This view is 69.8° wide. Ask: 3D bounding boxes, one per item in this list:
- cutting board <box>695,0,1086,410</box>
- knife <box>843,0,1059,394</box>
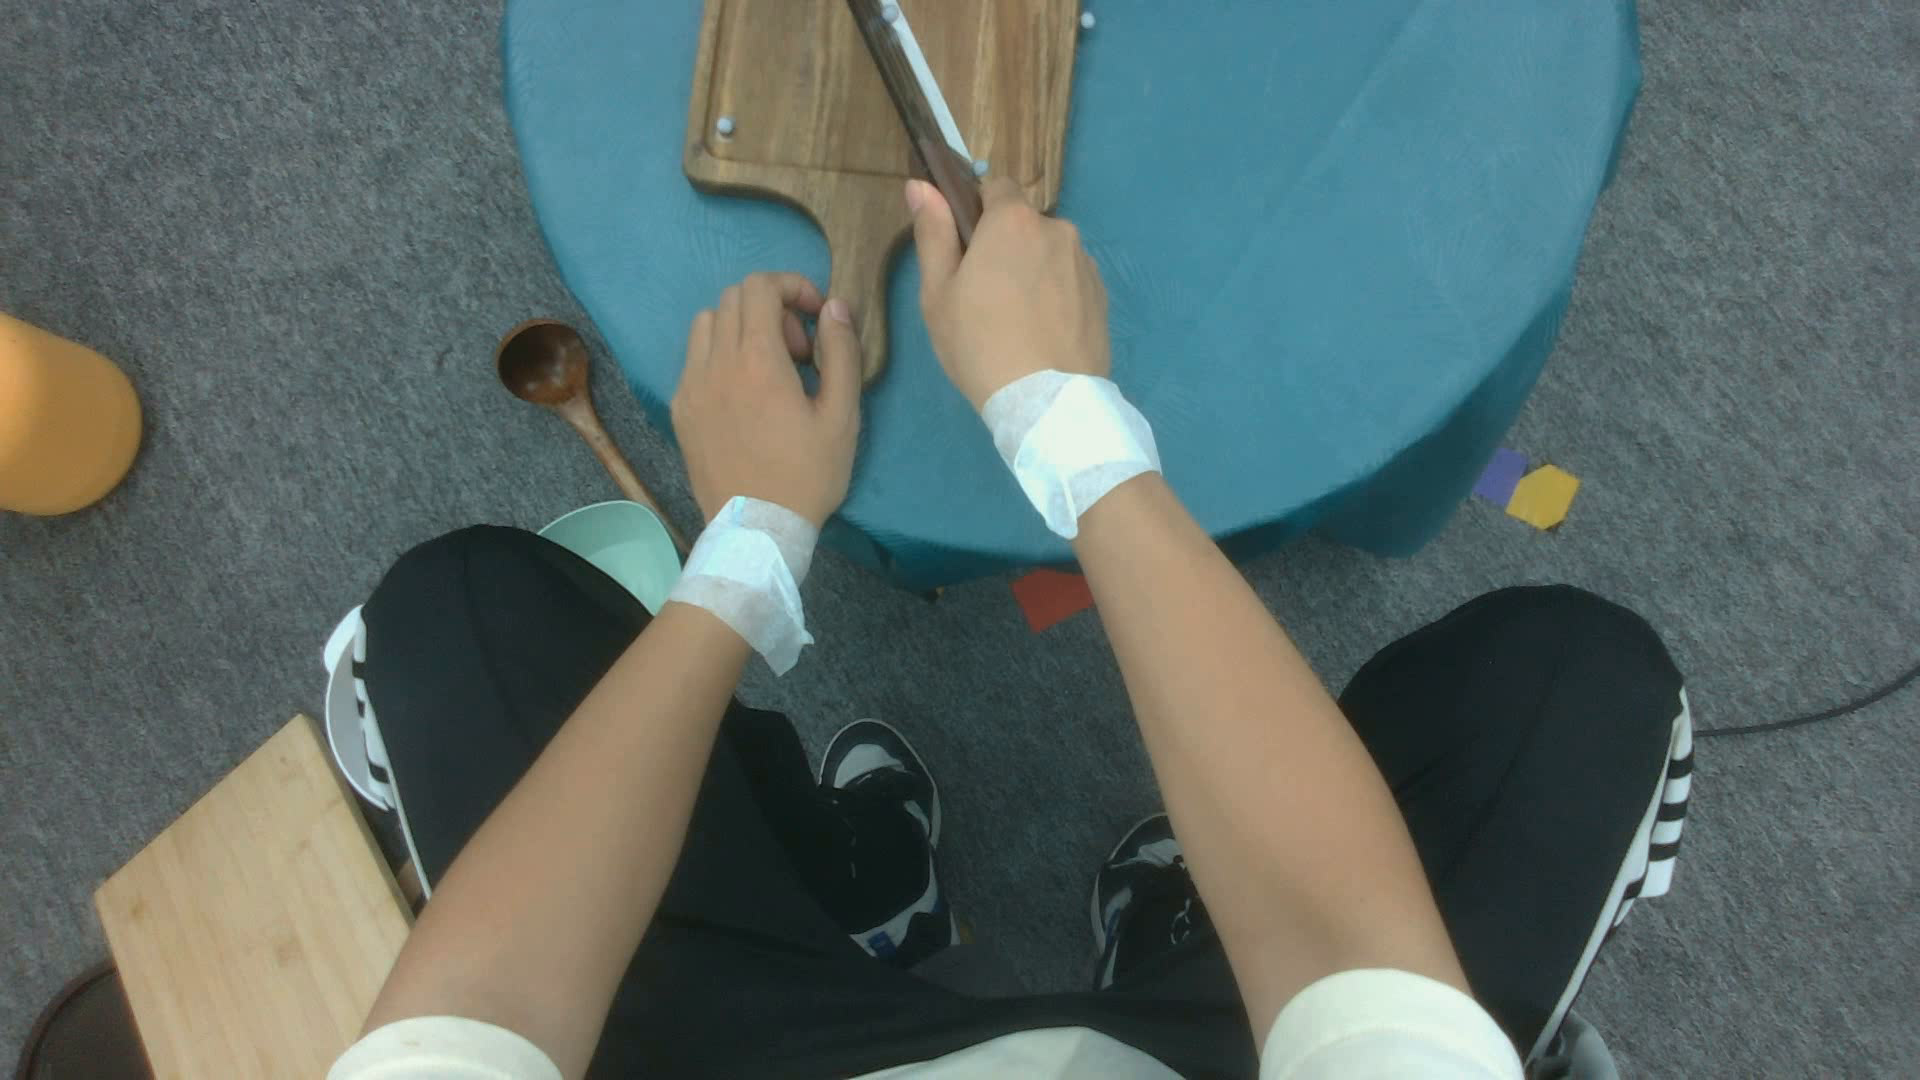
[{"bbox_3d":[-0.037,-0.243,0.743,0.201,0.023,0.352,6,82,4],"label":"cutting board"},{"bbox_3d":[-0.012,-0.200,0.688,0.024,0.068,0.300,-31,73,24],"label":"knife"}]
